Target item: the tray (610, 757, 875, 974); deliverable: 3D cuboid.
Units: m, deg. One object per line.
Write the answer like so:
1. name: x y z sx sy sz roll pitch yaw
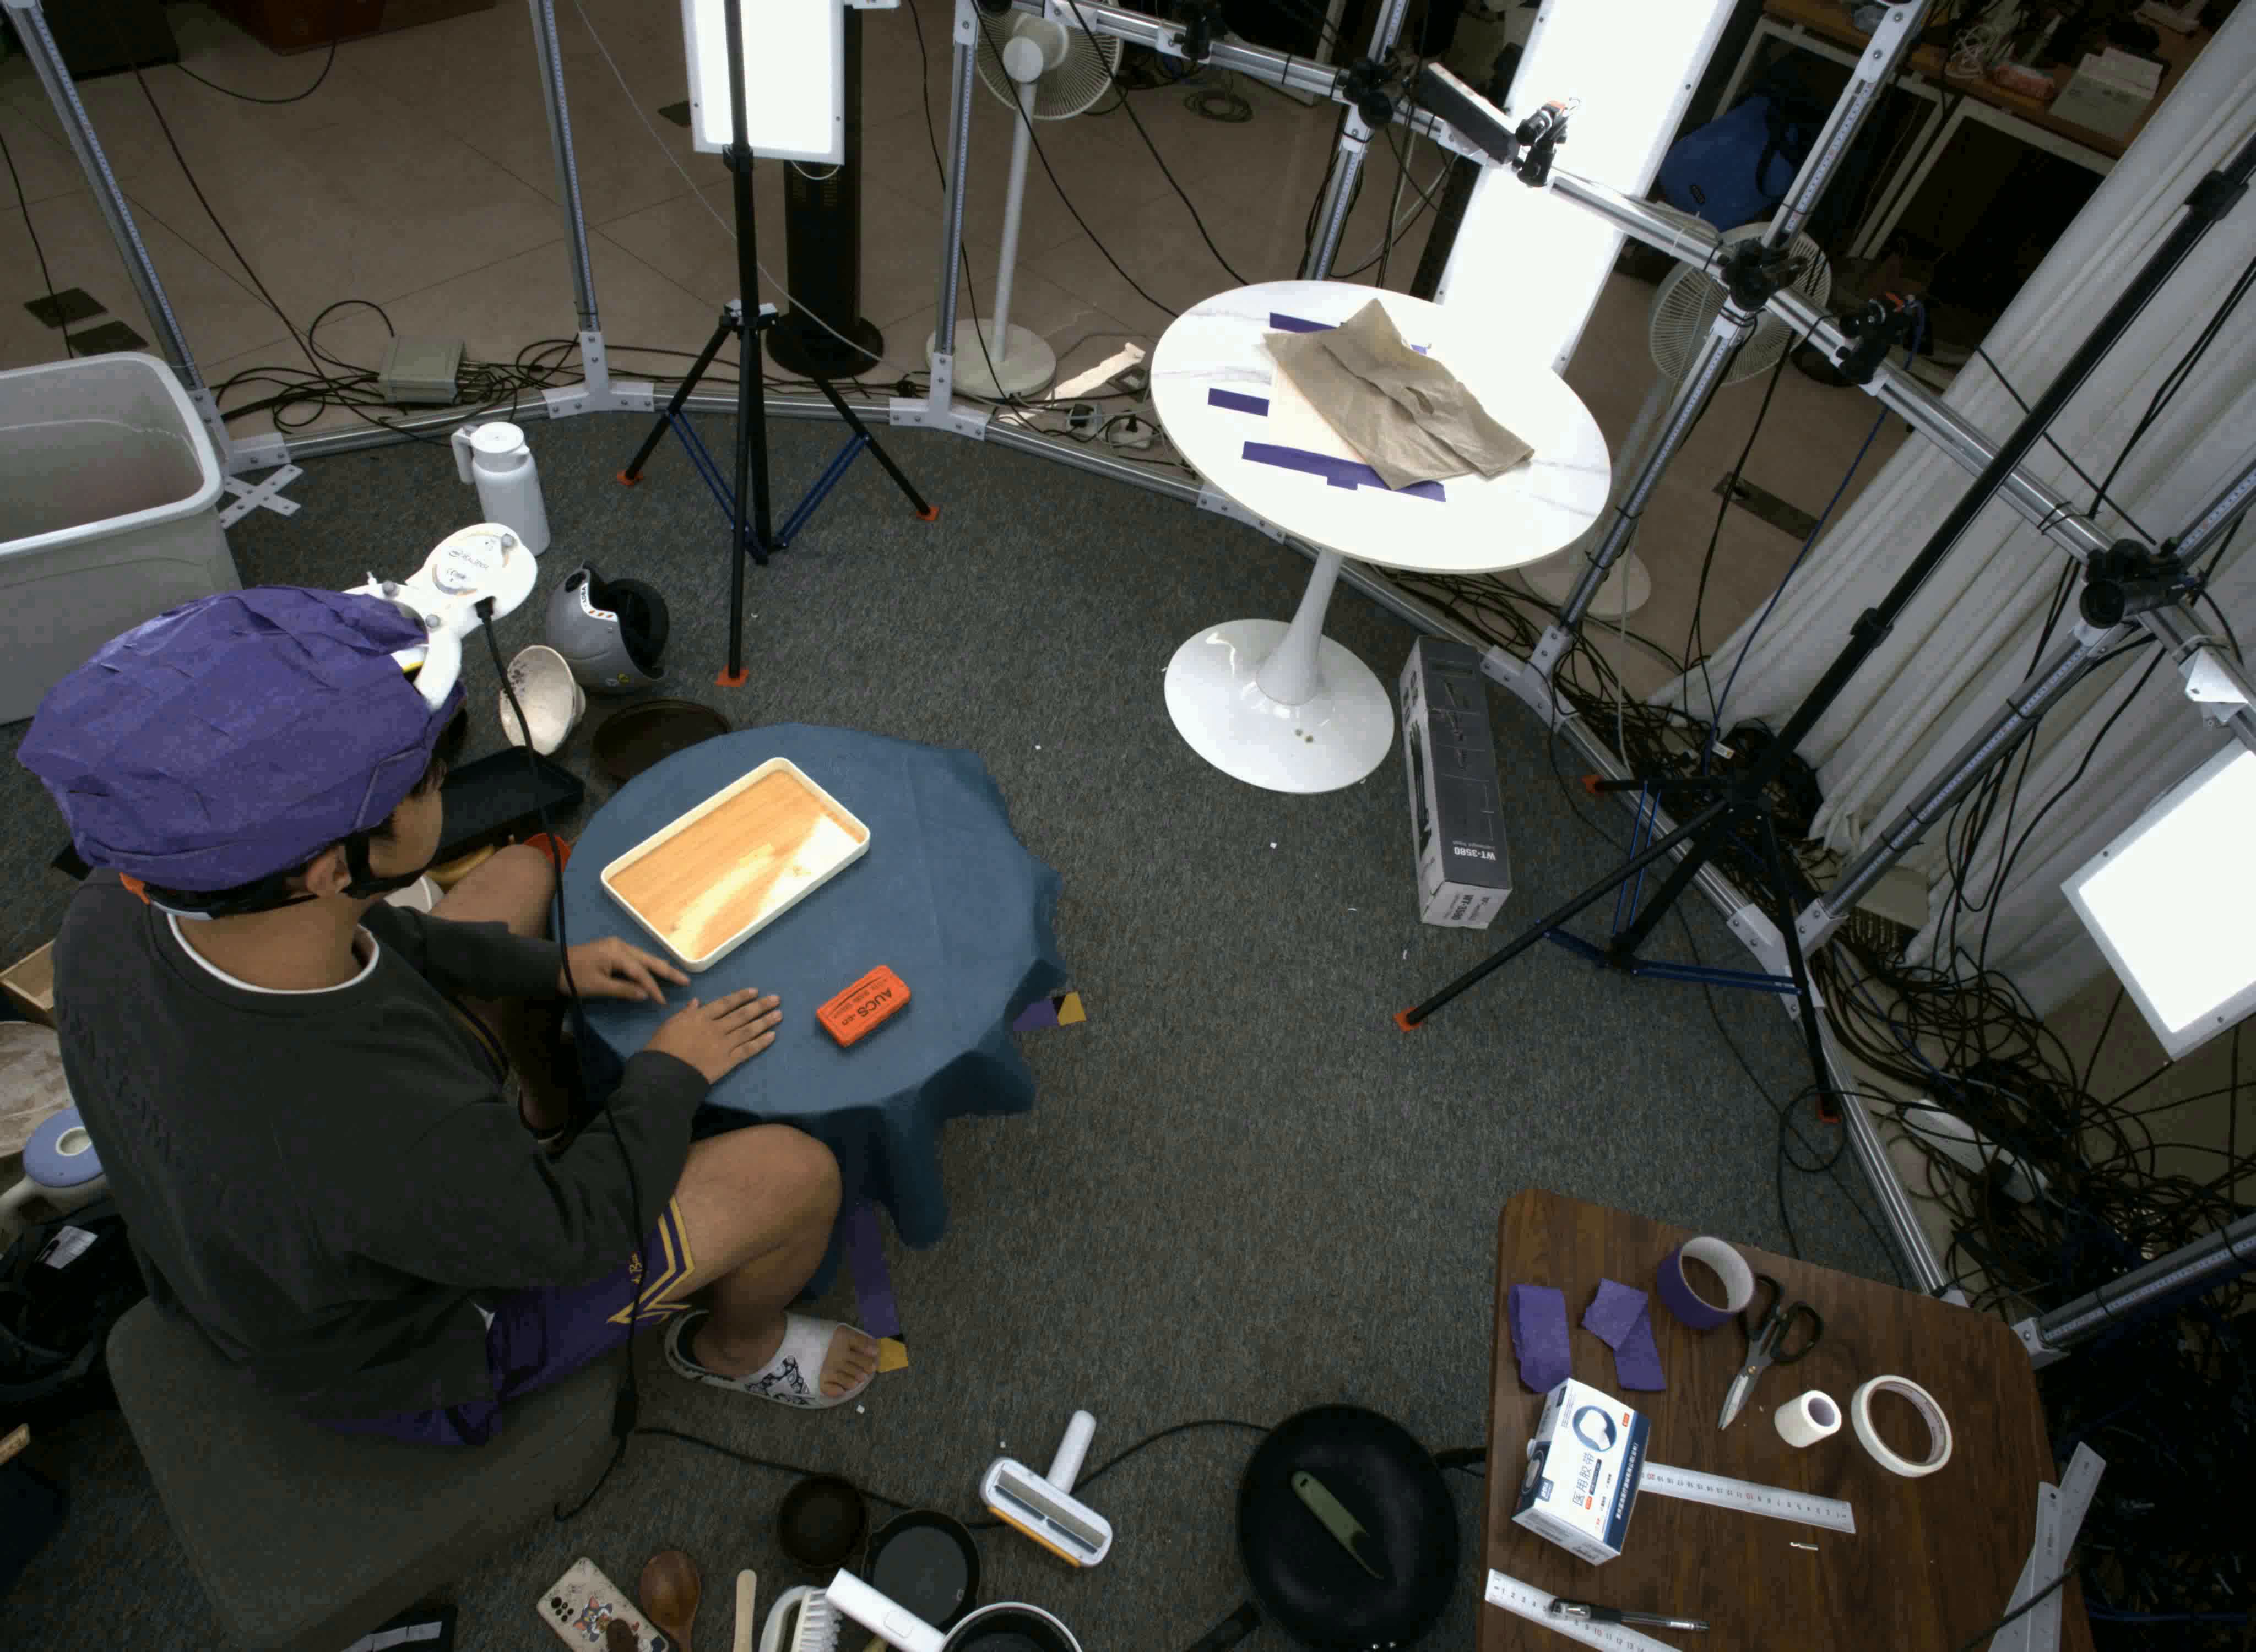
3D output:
1. tray: -0.493 0.042 1.663 0.187 0.028 0.300 39 54 16

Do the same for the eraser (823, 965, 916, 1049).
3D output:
1. eraser: -0.314 0.217 1.580 0.057 0.023 0.108 42 54 18
